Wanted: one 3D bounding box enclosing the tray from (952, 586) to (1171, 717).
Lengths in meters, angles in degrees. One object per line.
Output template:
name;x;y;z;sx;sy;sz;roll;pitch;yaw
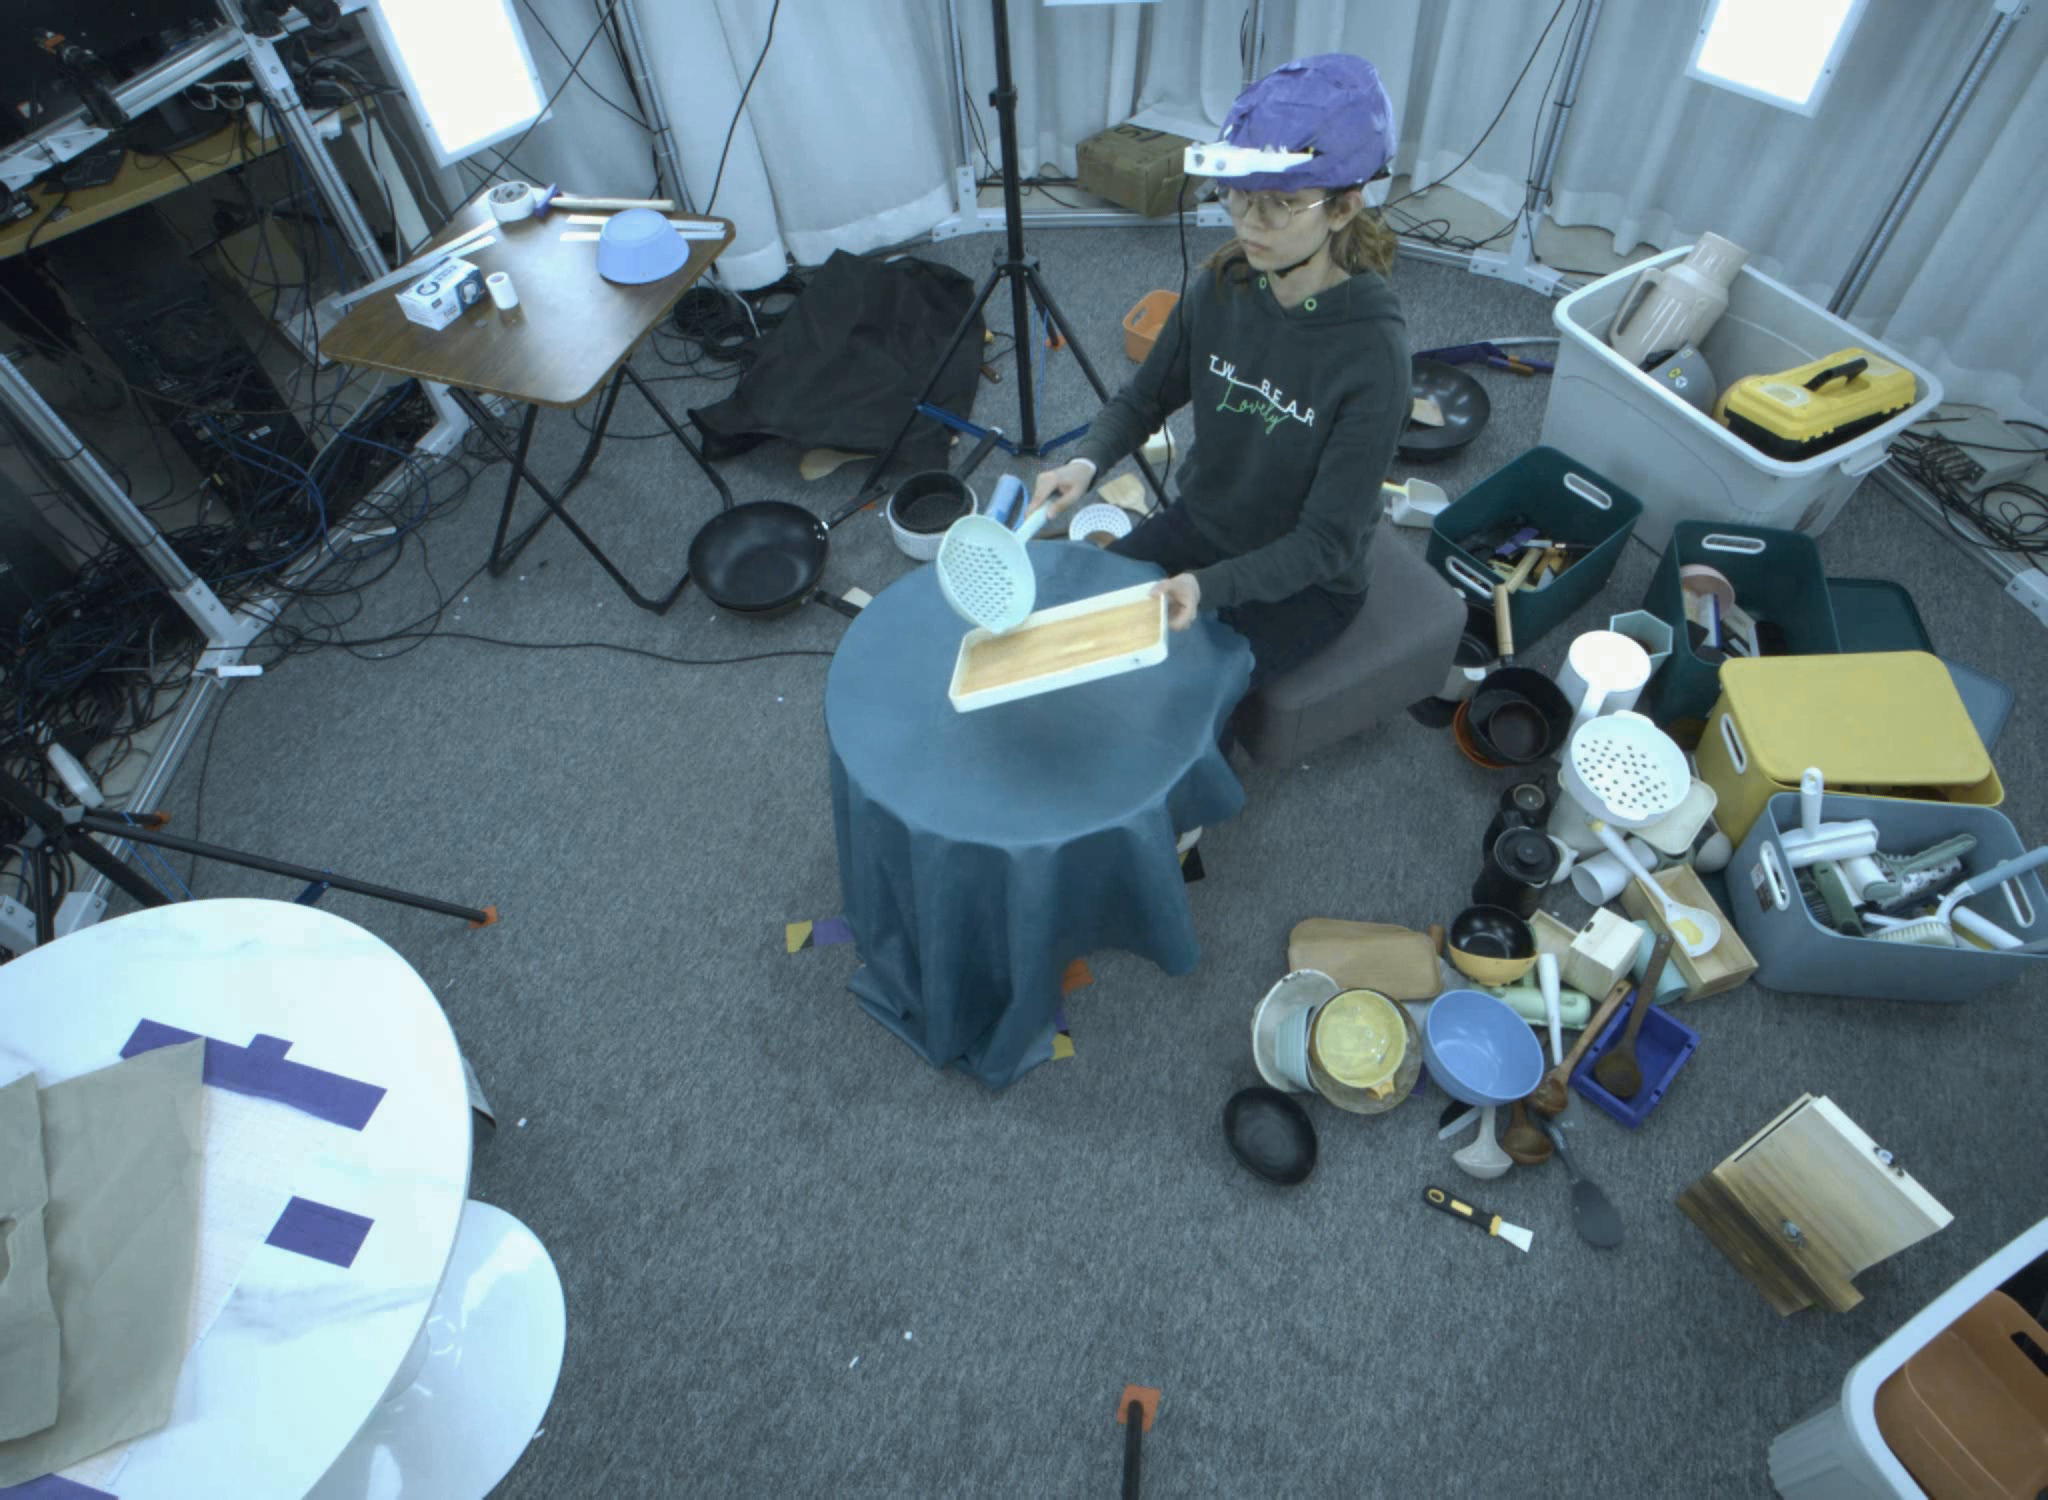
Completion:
tray;0.054;-0.136;1.688;0.298;0.028;0.190;-13;33;14

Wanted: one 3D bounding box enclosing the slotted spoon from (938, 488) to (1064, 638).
slotted spoon;-0.014;-0.301;1.797;0.074;0.172;0.360;-13;31;48
